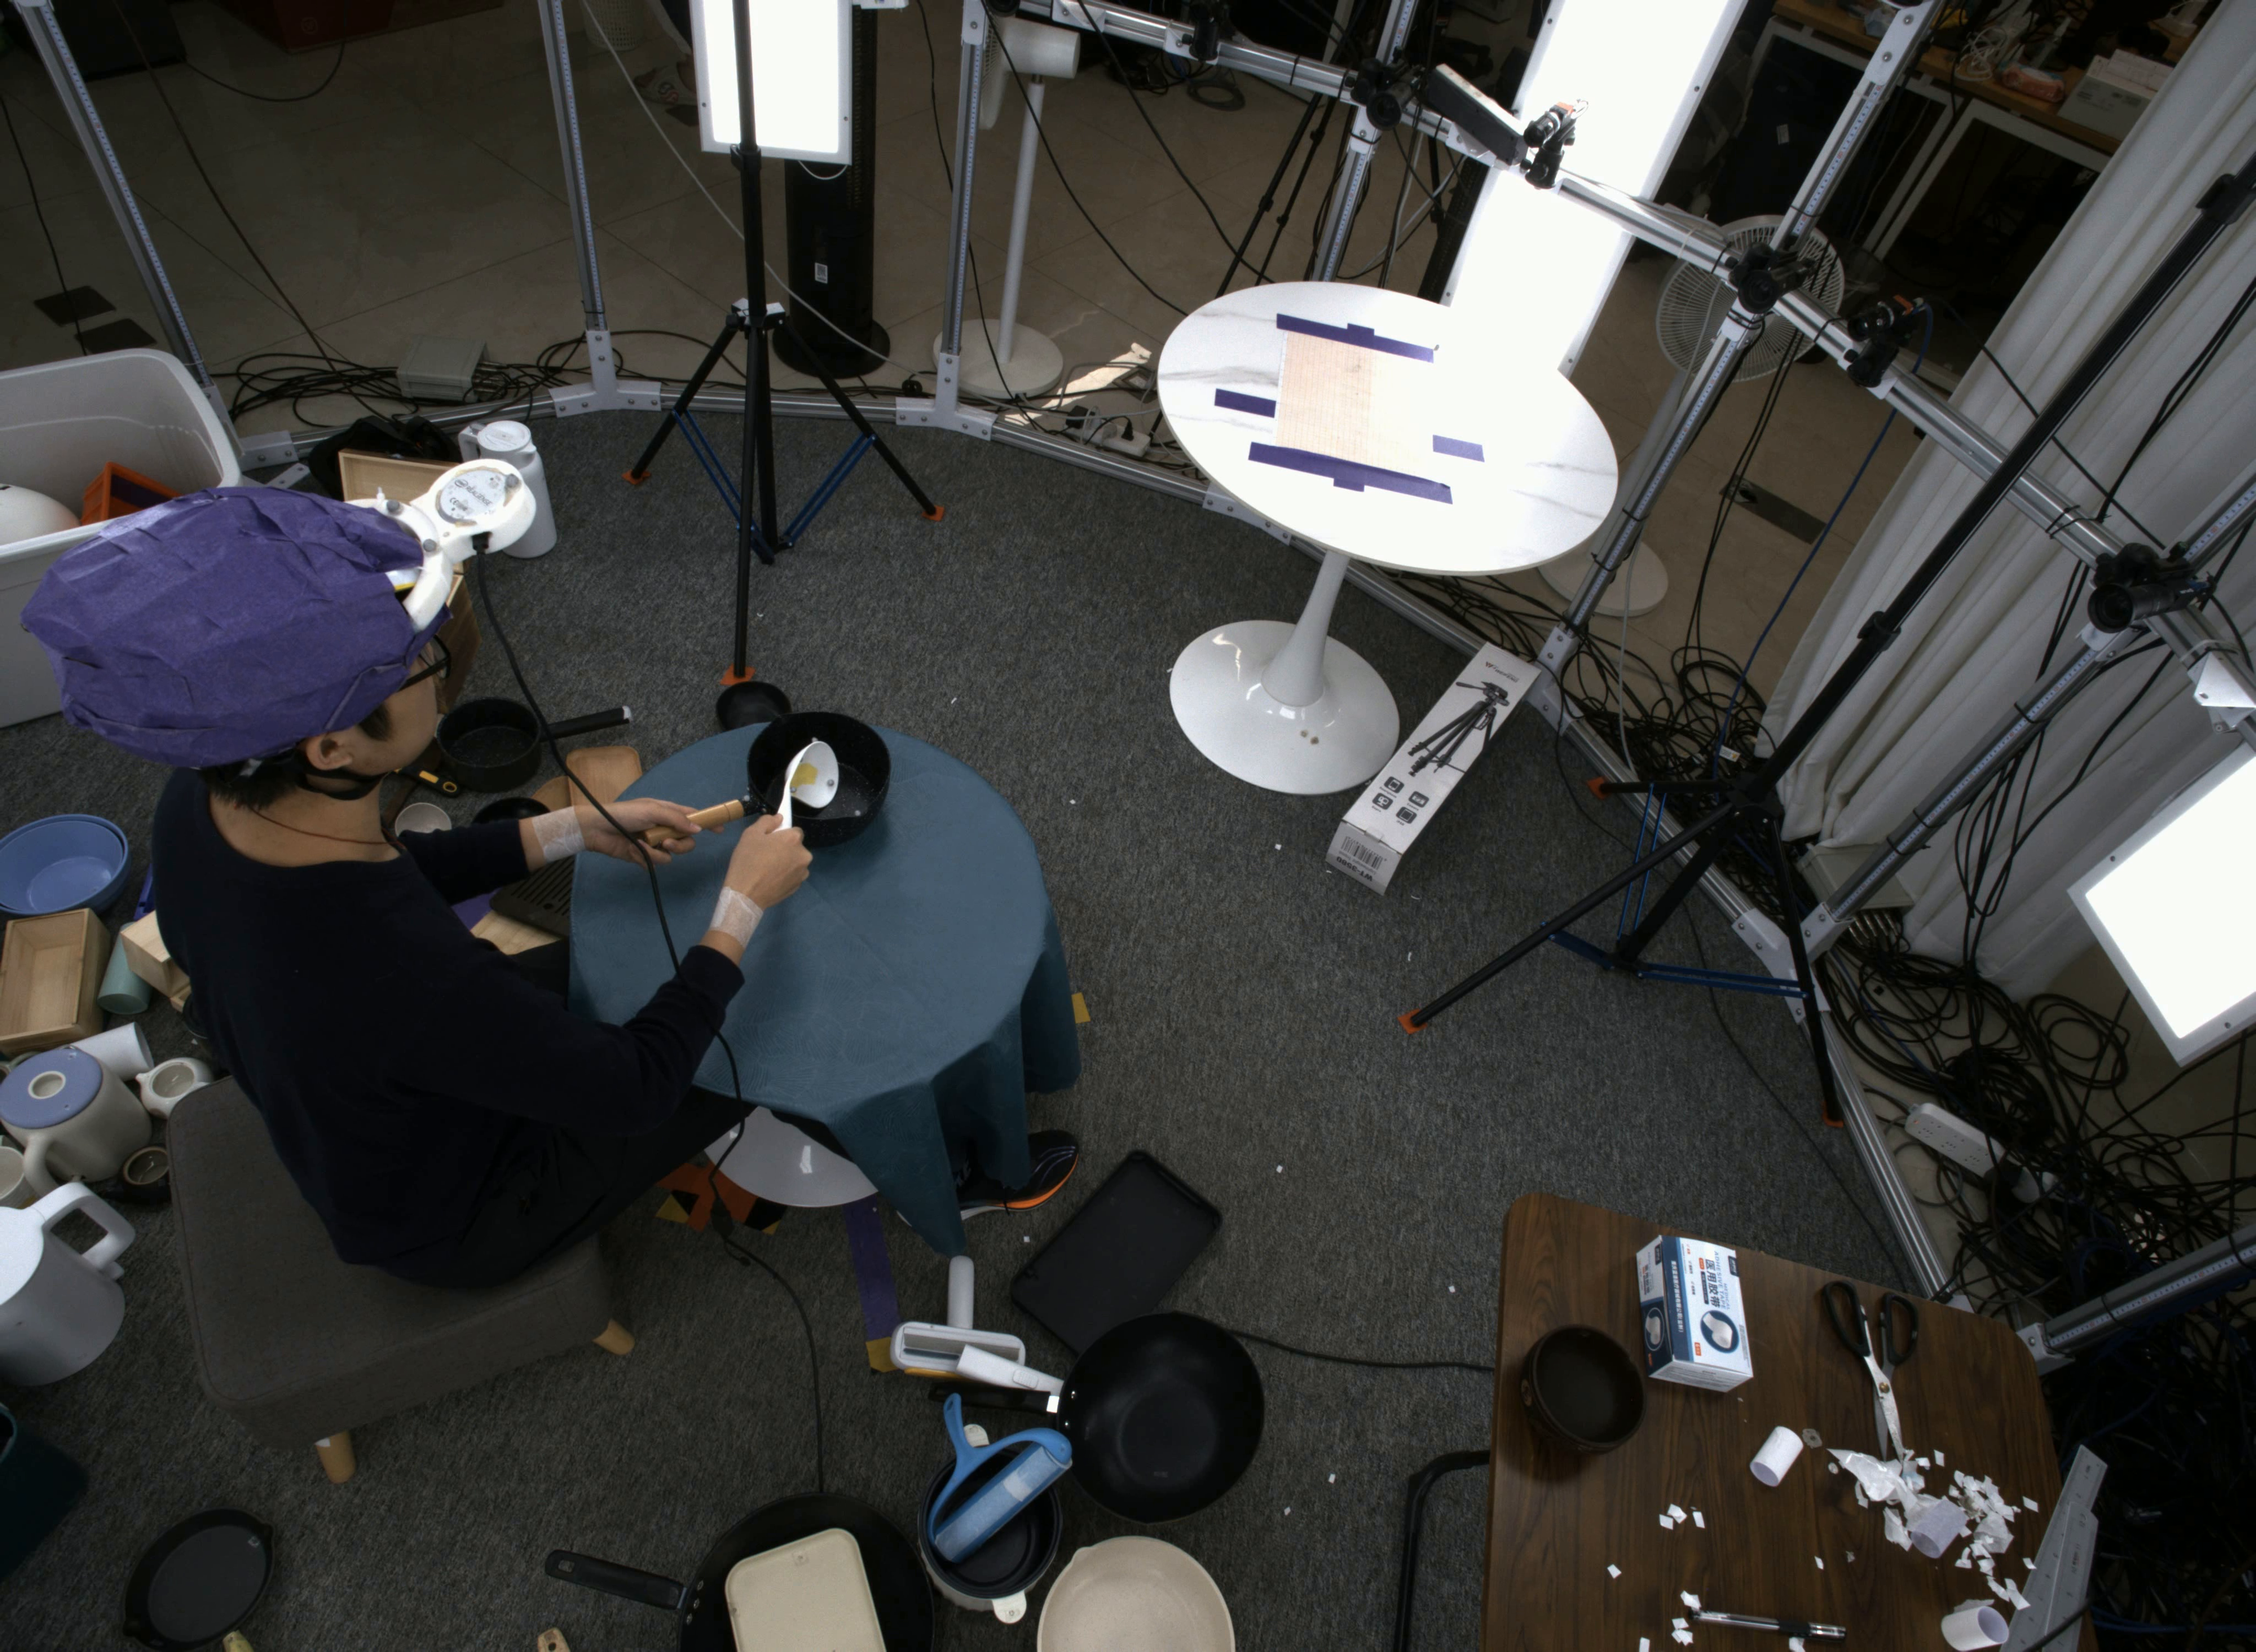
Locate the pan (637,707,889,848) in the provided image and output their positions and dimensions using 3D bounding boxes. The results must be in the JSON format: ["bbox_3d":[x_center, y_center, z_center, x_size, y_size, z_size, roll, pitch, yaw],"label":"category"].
[{"bbox_3d":[-0.465,-0.030,1.655,0.344,0.110,0.203,-31,67,-33],"label":"pan"}]

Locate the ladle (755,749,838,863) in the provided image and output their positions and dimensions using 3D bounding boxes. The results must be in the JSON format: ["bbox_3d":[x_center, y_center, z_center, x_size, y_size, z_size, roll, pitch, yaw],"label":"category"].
[{"bbox_3d":[-0.408,-0.021,1.611,0.070,0.092,0.286,1,19,-8],"label":"ladle"}]
